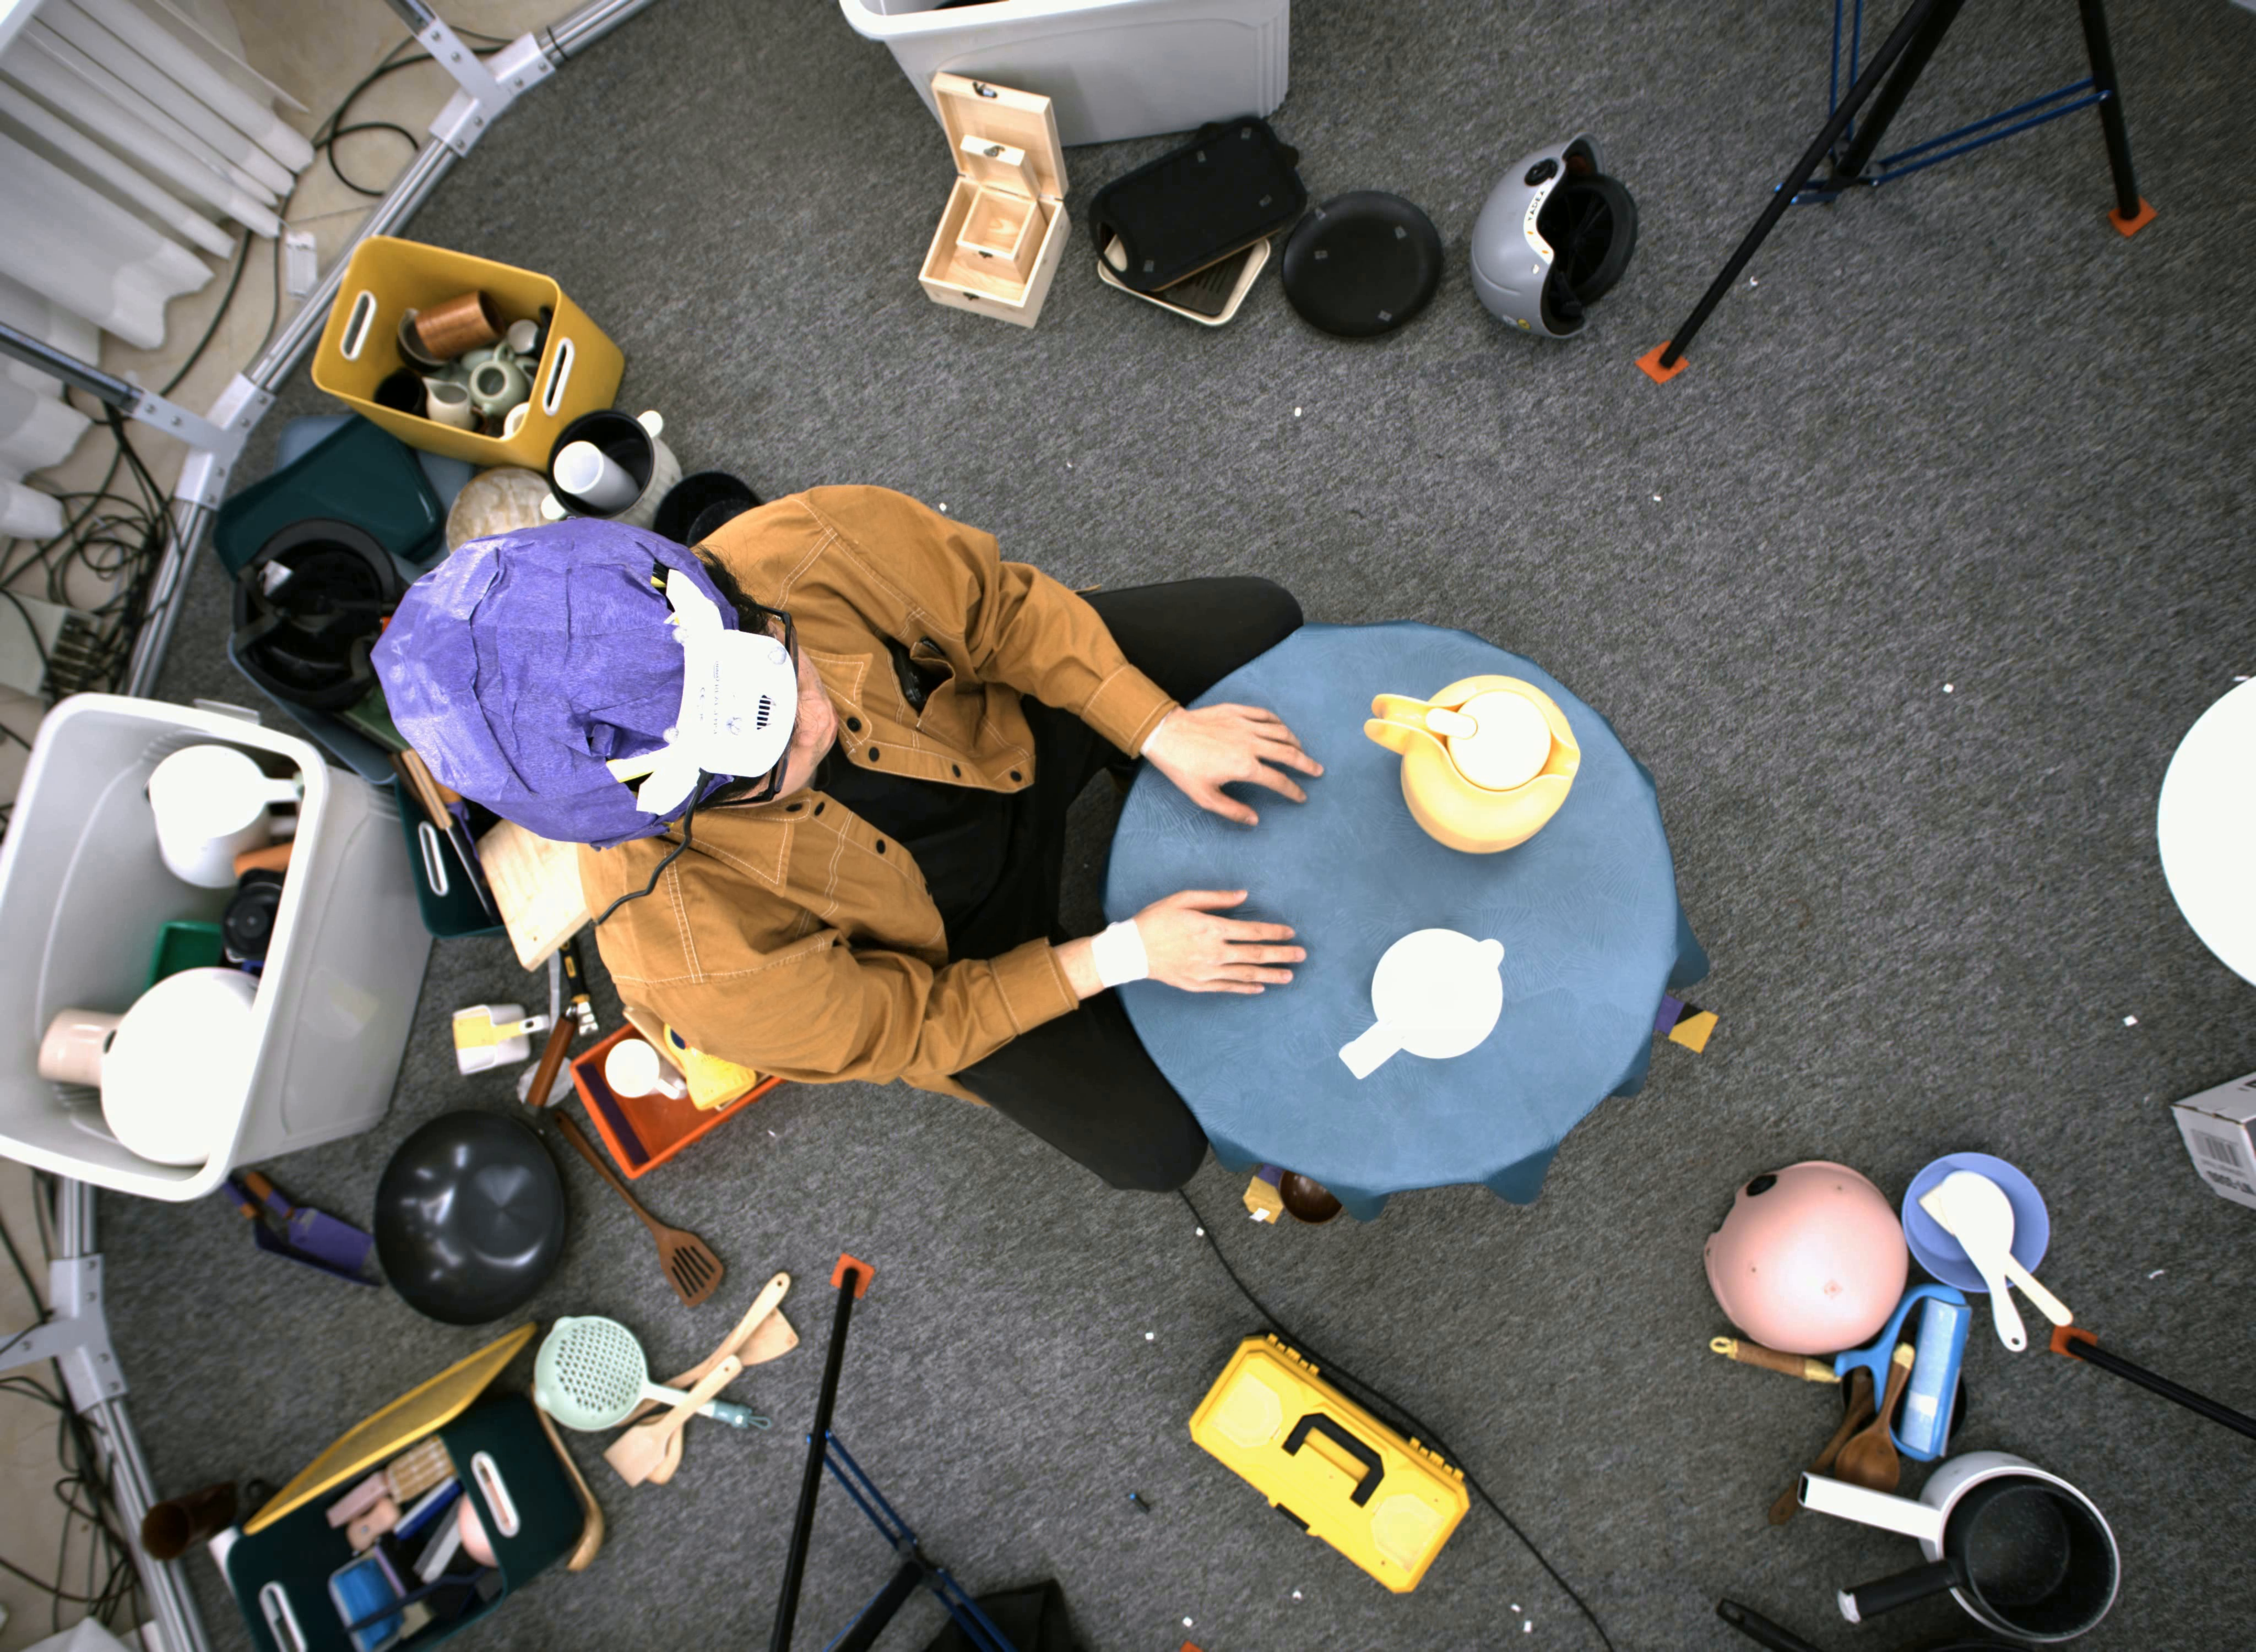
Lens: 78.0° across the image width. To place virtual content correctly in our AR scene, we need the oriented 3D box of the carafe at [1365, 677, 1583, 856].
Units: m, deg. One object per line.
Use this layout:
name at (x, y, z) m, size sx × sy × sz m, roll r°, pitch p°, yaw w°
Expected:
carafe at (0.328, -0.071, 1.323) m, size 0.202 × 0.261 × 0.163 m, roll 22°, pitch 86°, yaw 10°

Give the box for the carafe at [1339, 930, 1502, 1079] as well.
carafe at (0.279, 0.171, 1.319) m, size 0.173 × 0.269 × 0.123 m, roll -41°, pitch 81°, yaw 5°
